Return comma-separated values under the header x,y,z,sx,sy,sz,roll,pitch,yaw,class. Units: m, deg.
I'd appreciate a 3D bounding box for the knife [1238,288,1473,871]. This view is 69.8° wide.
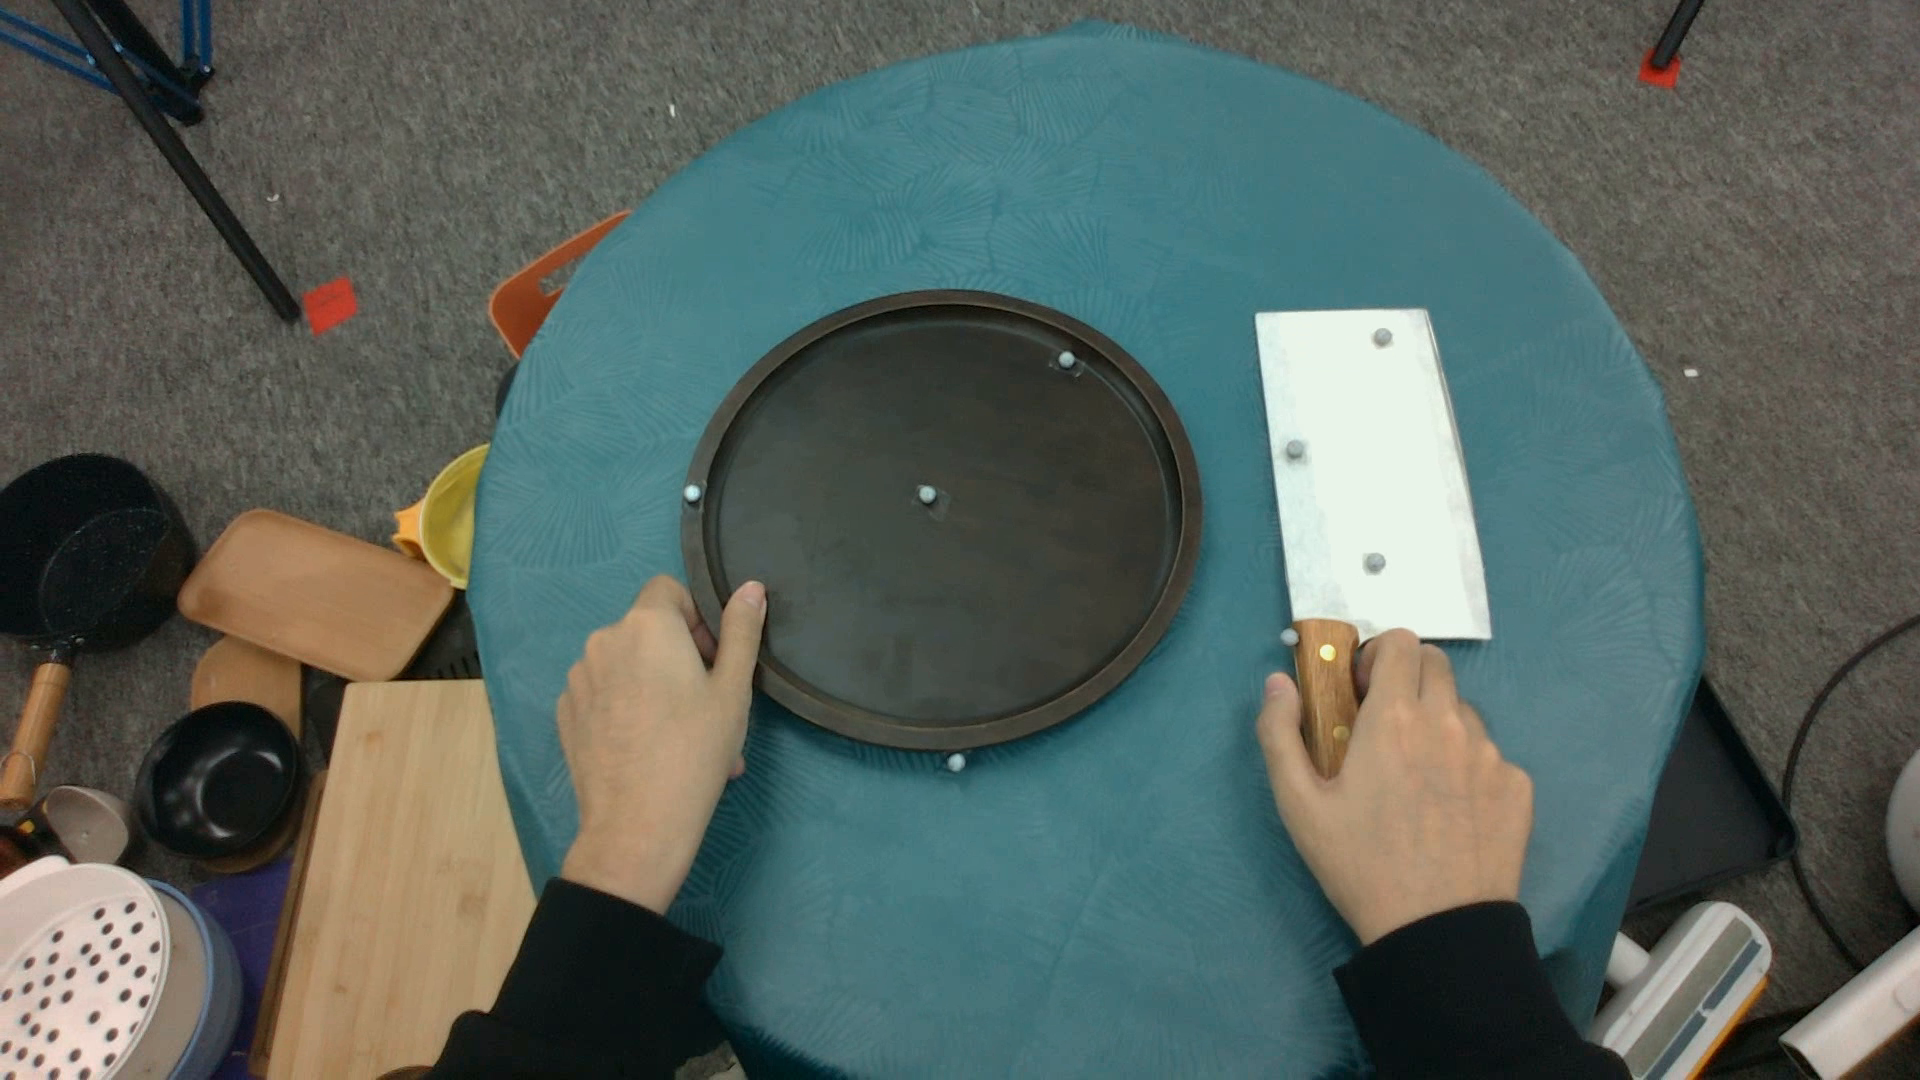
x,y,z,sx,sy,sz,roll,pitch,yaw,class
0.191,0.003,0.652,0.093,0.021,0.307,-1,62,1,knife

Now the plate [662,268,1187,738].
x,y,z,sx,sy,sz,roll,pitch,yaw,class
-0.017,-0.025,0.669,0.255,0.029,0.255,-2,64,3,plate
